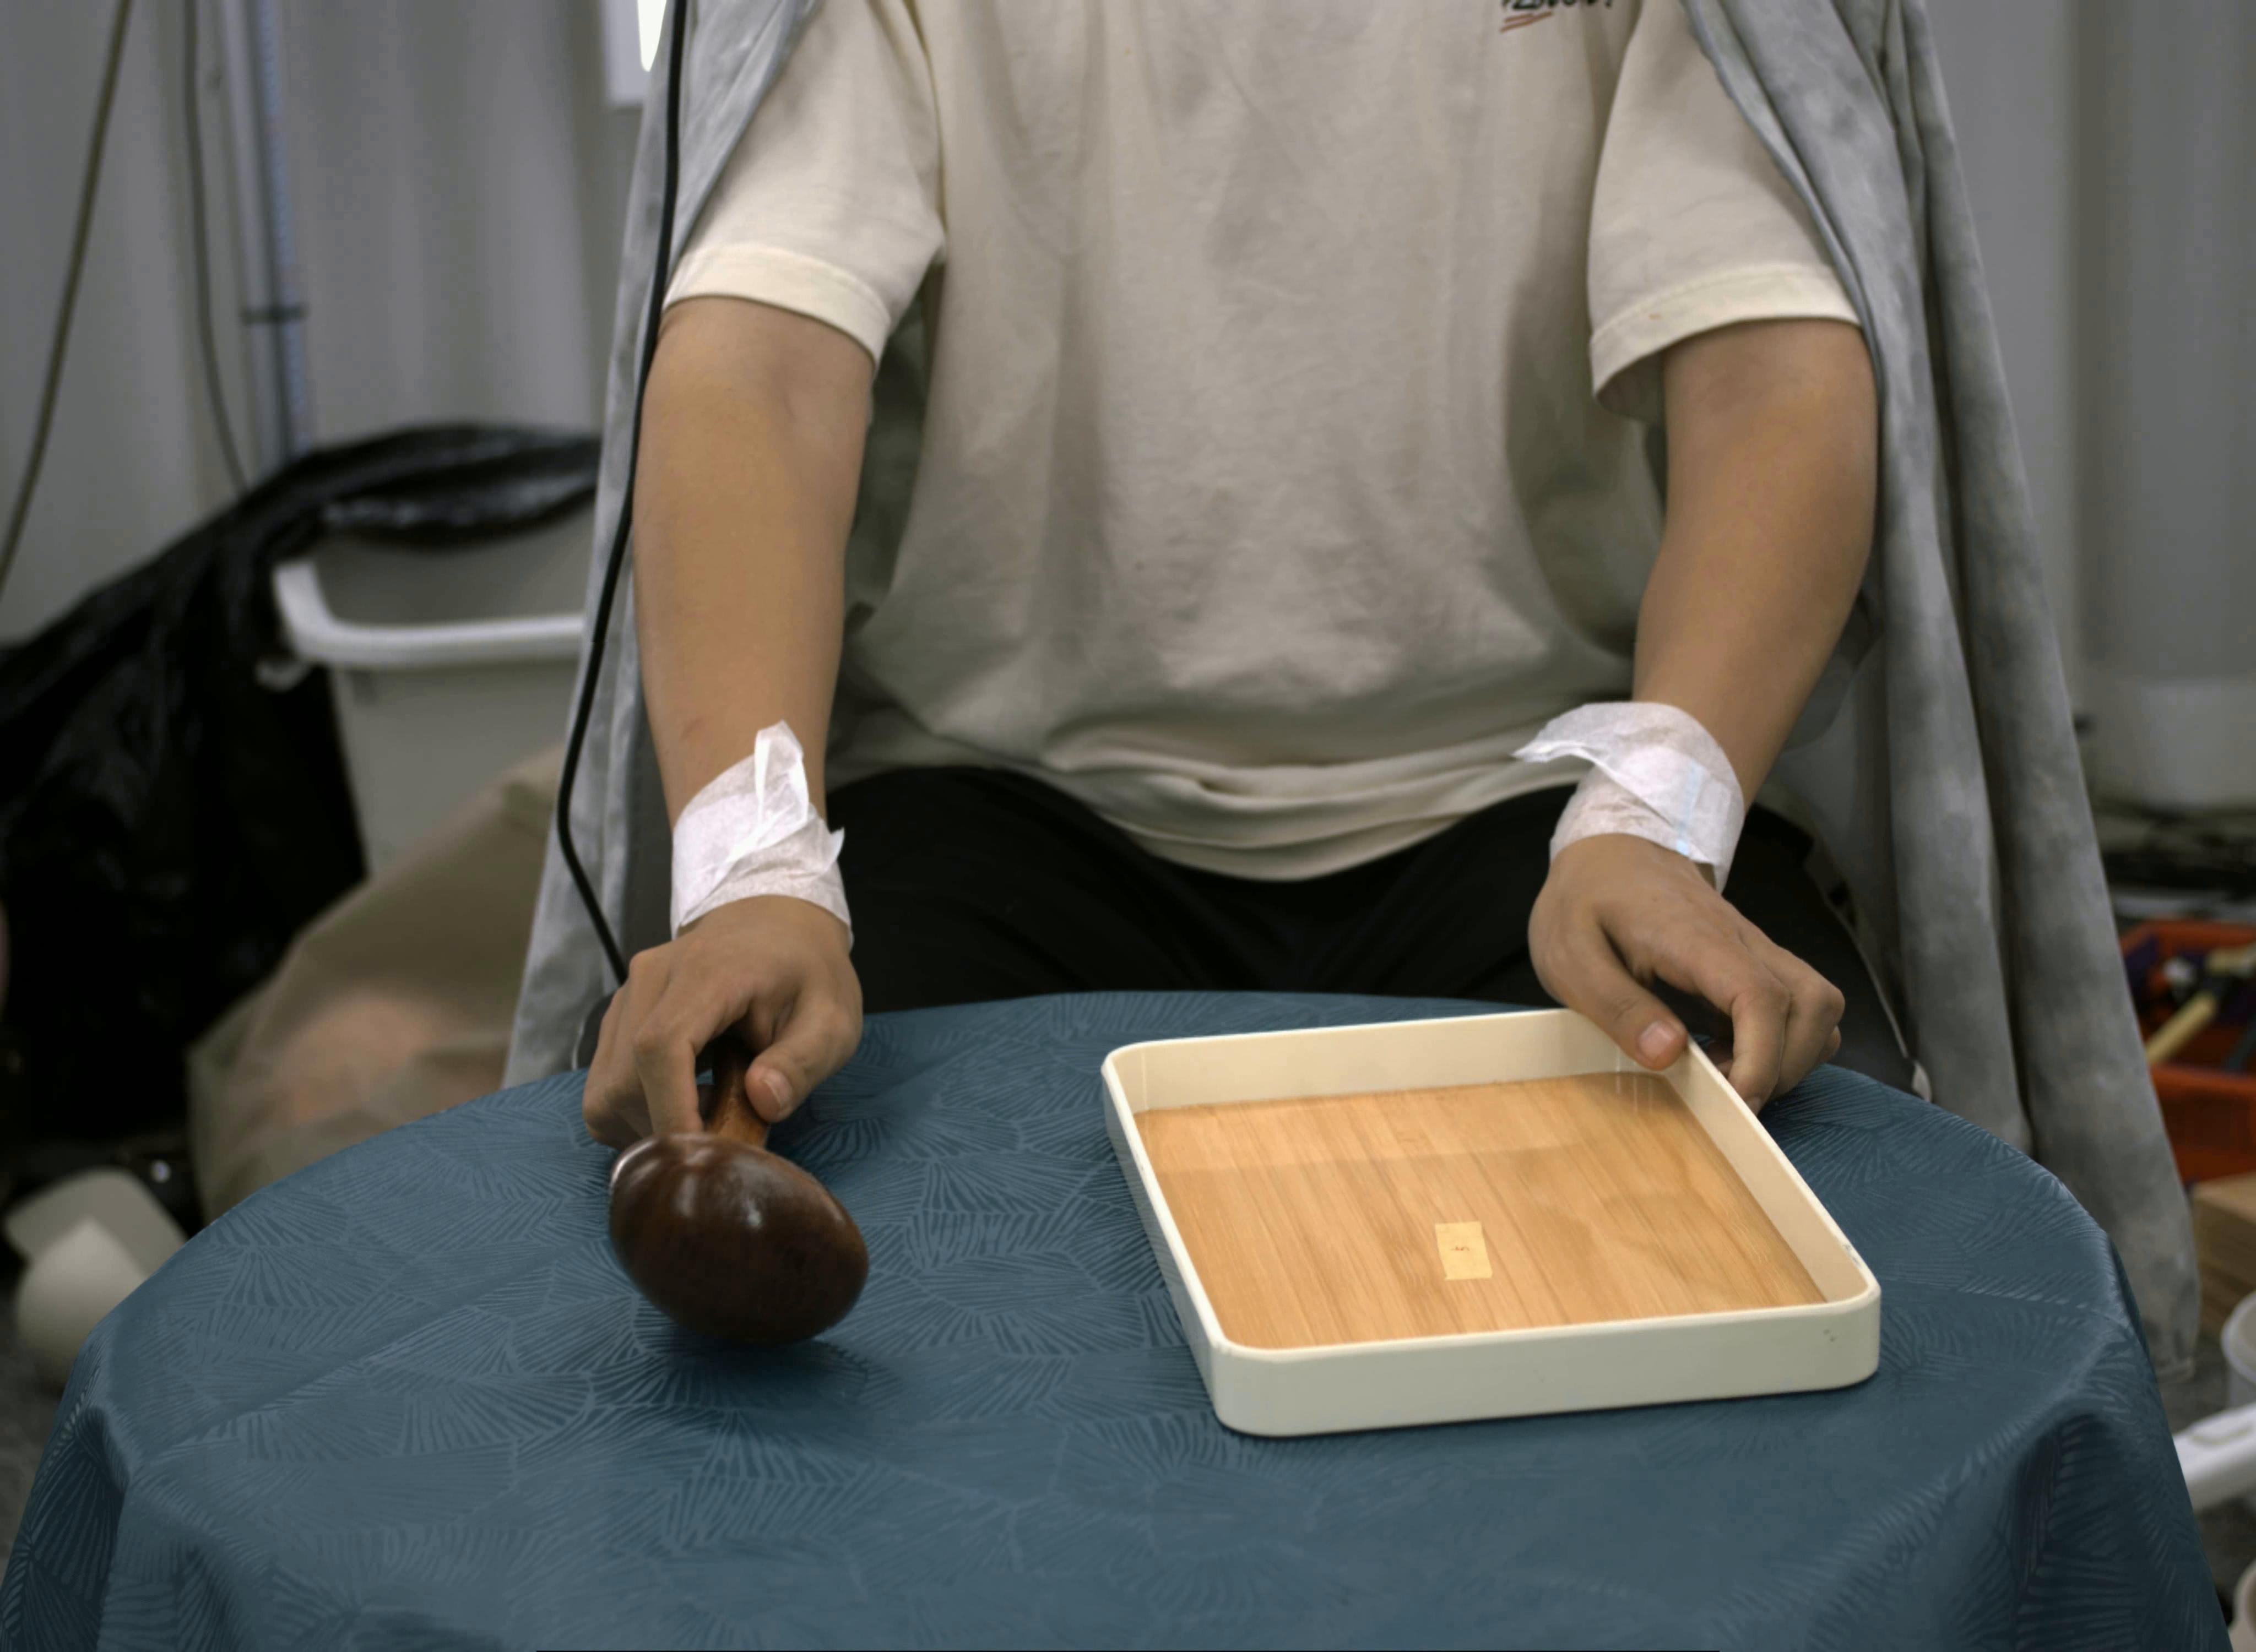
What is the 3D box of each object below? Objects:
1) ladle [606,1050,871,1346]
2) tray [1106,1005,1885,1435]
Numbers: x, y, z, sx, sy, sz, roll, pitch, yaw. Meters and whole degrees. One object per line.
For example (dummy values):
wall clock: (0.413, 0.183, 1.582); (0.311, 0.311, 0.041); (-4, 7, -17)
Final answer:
ladle: (-0.110, 0.092, 1.680); (0.081, 0.076, 0.276); (39, 13, -7)
tray: (0.103, 0.114, 1.650); (0.191, 0.027, 0.302); (-4, 15, -6)
